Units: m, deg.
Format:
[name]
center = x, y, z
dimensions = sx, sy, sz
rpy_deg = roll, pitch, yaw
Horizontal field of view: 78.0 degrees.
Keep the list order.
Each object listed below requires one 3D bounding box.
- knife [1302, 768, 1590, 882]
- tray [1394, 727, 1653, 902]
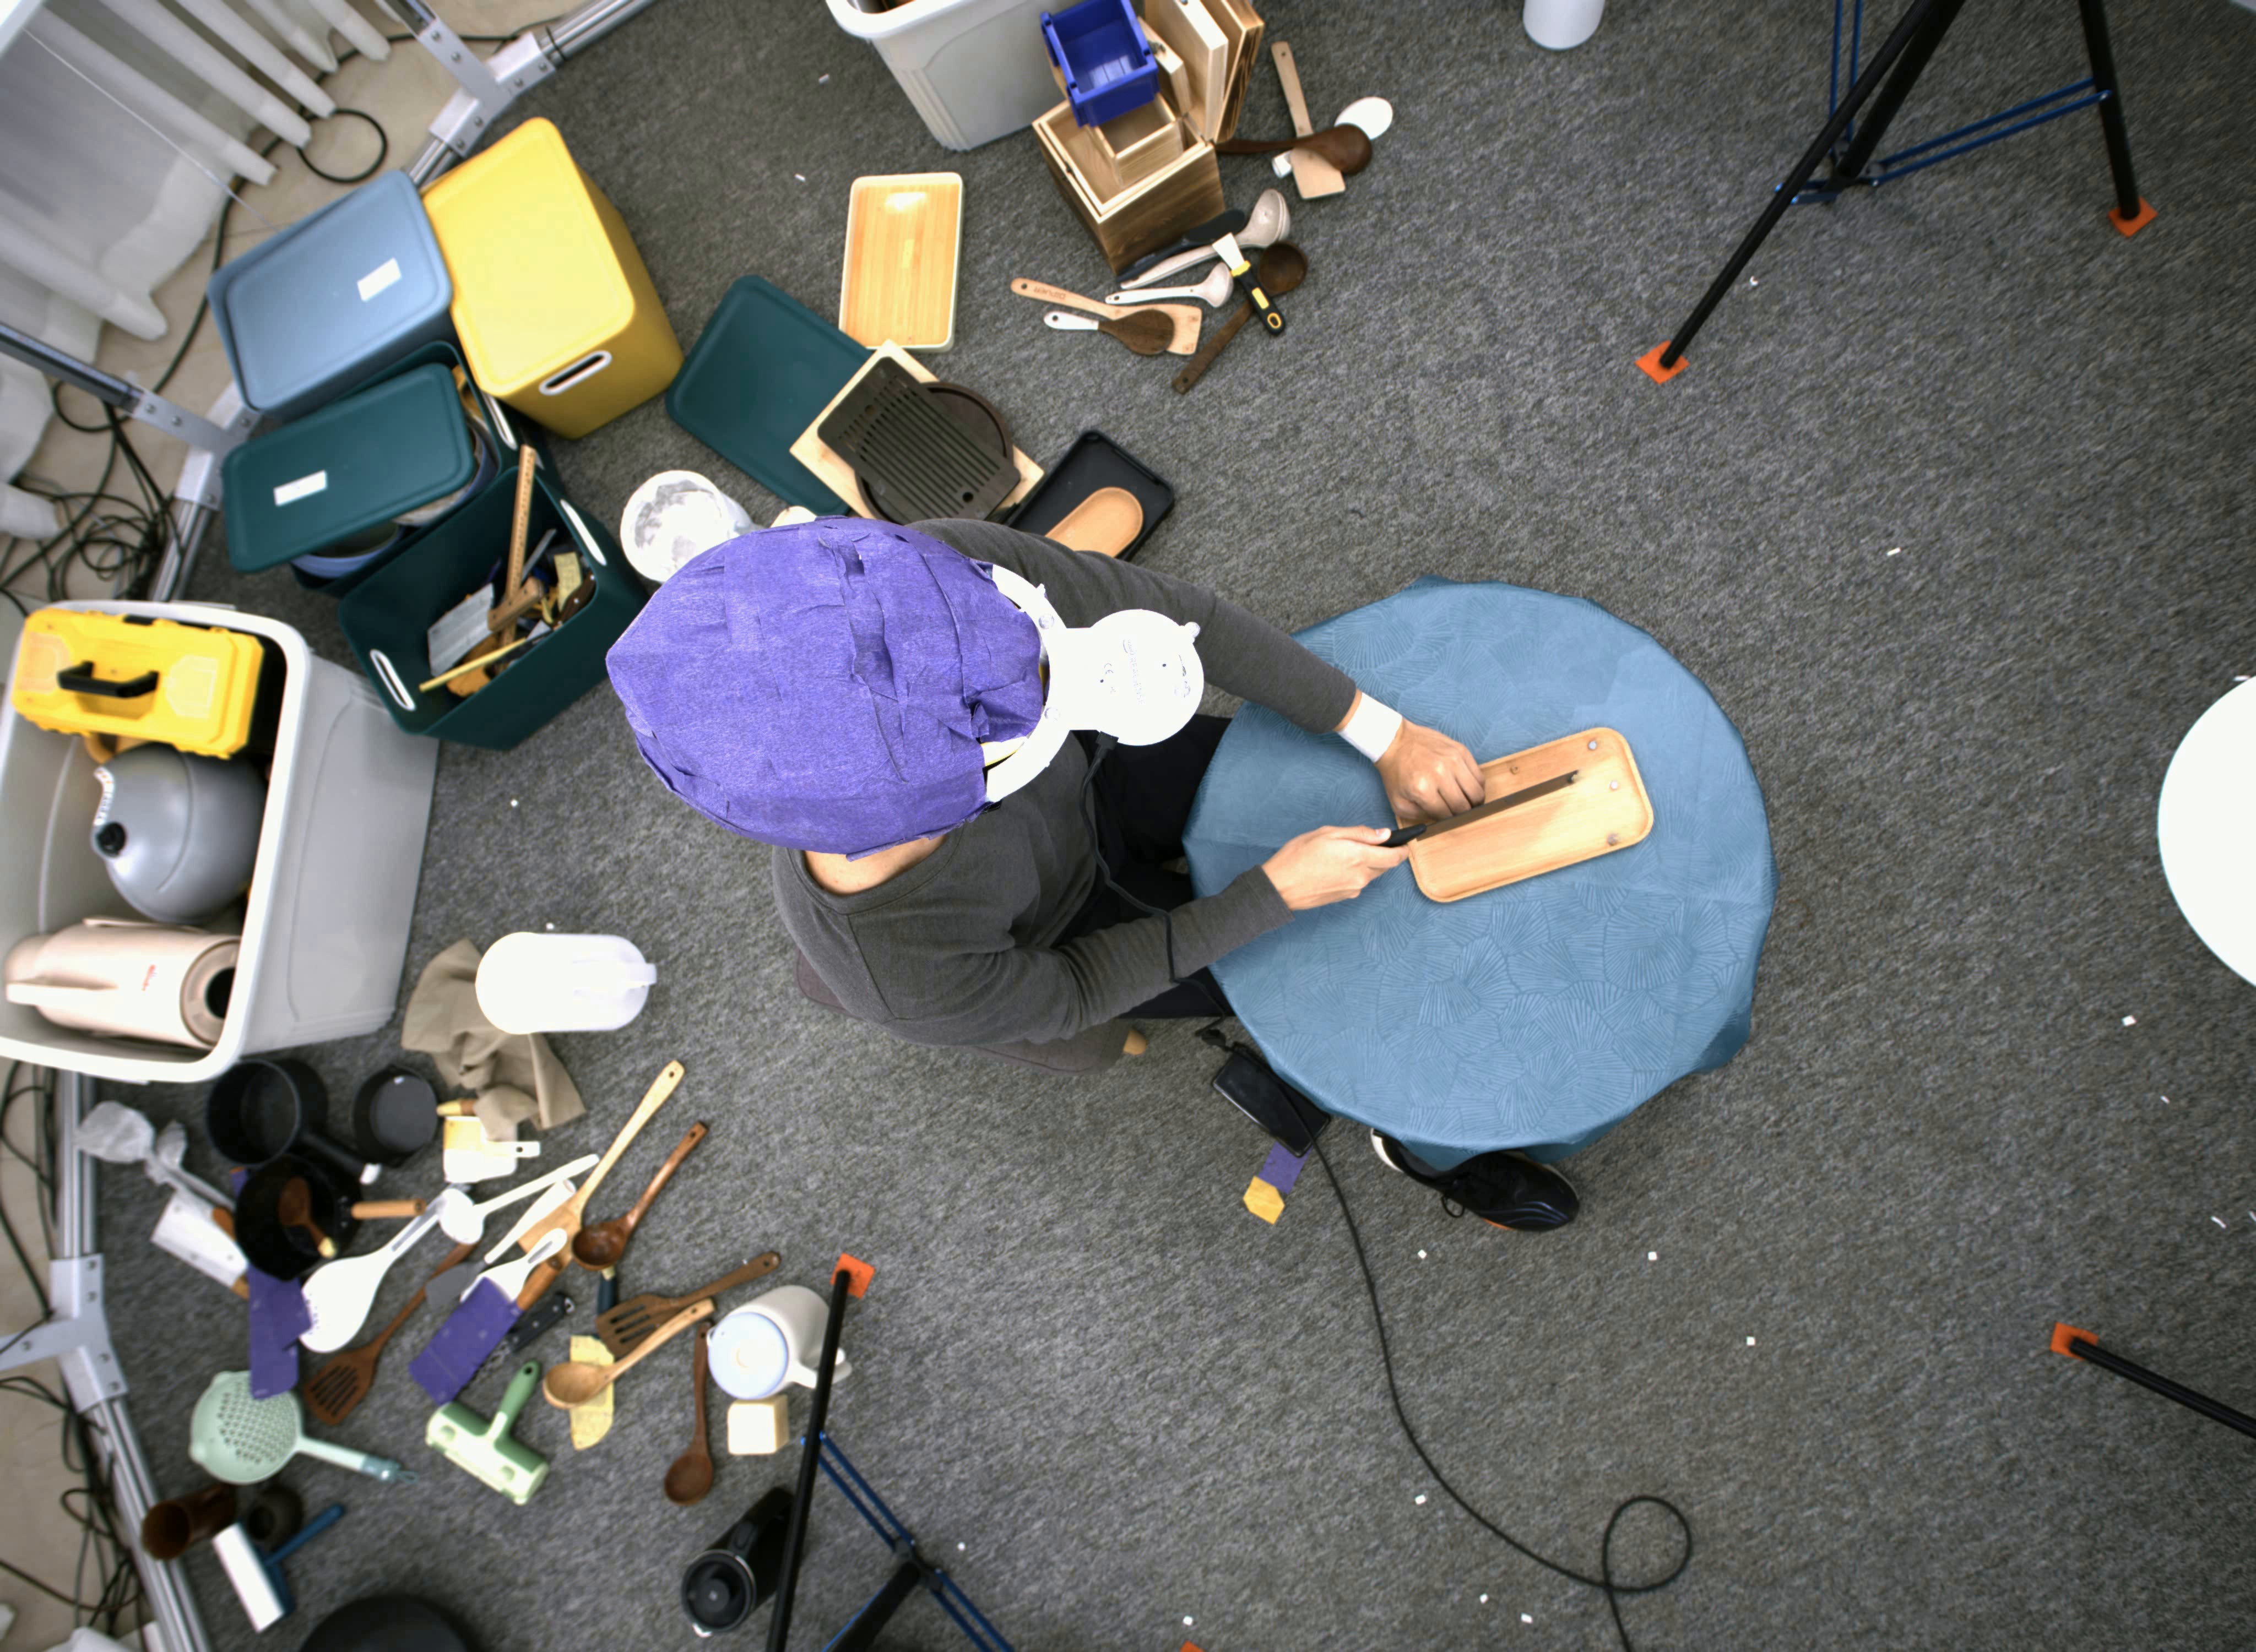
[knife]
center = 0.319, -0.003, 1.386
dimensions = 0.303, 0.081, 0.020
rpy_deg = -20, 75, 6
[tray]
center = 0.410, -0.013, 1.431
dimensions = 0.252, 0.023, 0.129
rpy_deg = -18, 81, 10
